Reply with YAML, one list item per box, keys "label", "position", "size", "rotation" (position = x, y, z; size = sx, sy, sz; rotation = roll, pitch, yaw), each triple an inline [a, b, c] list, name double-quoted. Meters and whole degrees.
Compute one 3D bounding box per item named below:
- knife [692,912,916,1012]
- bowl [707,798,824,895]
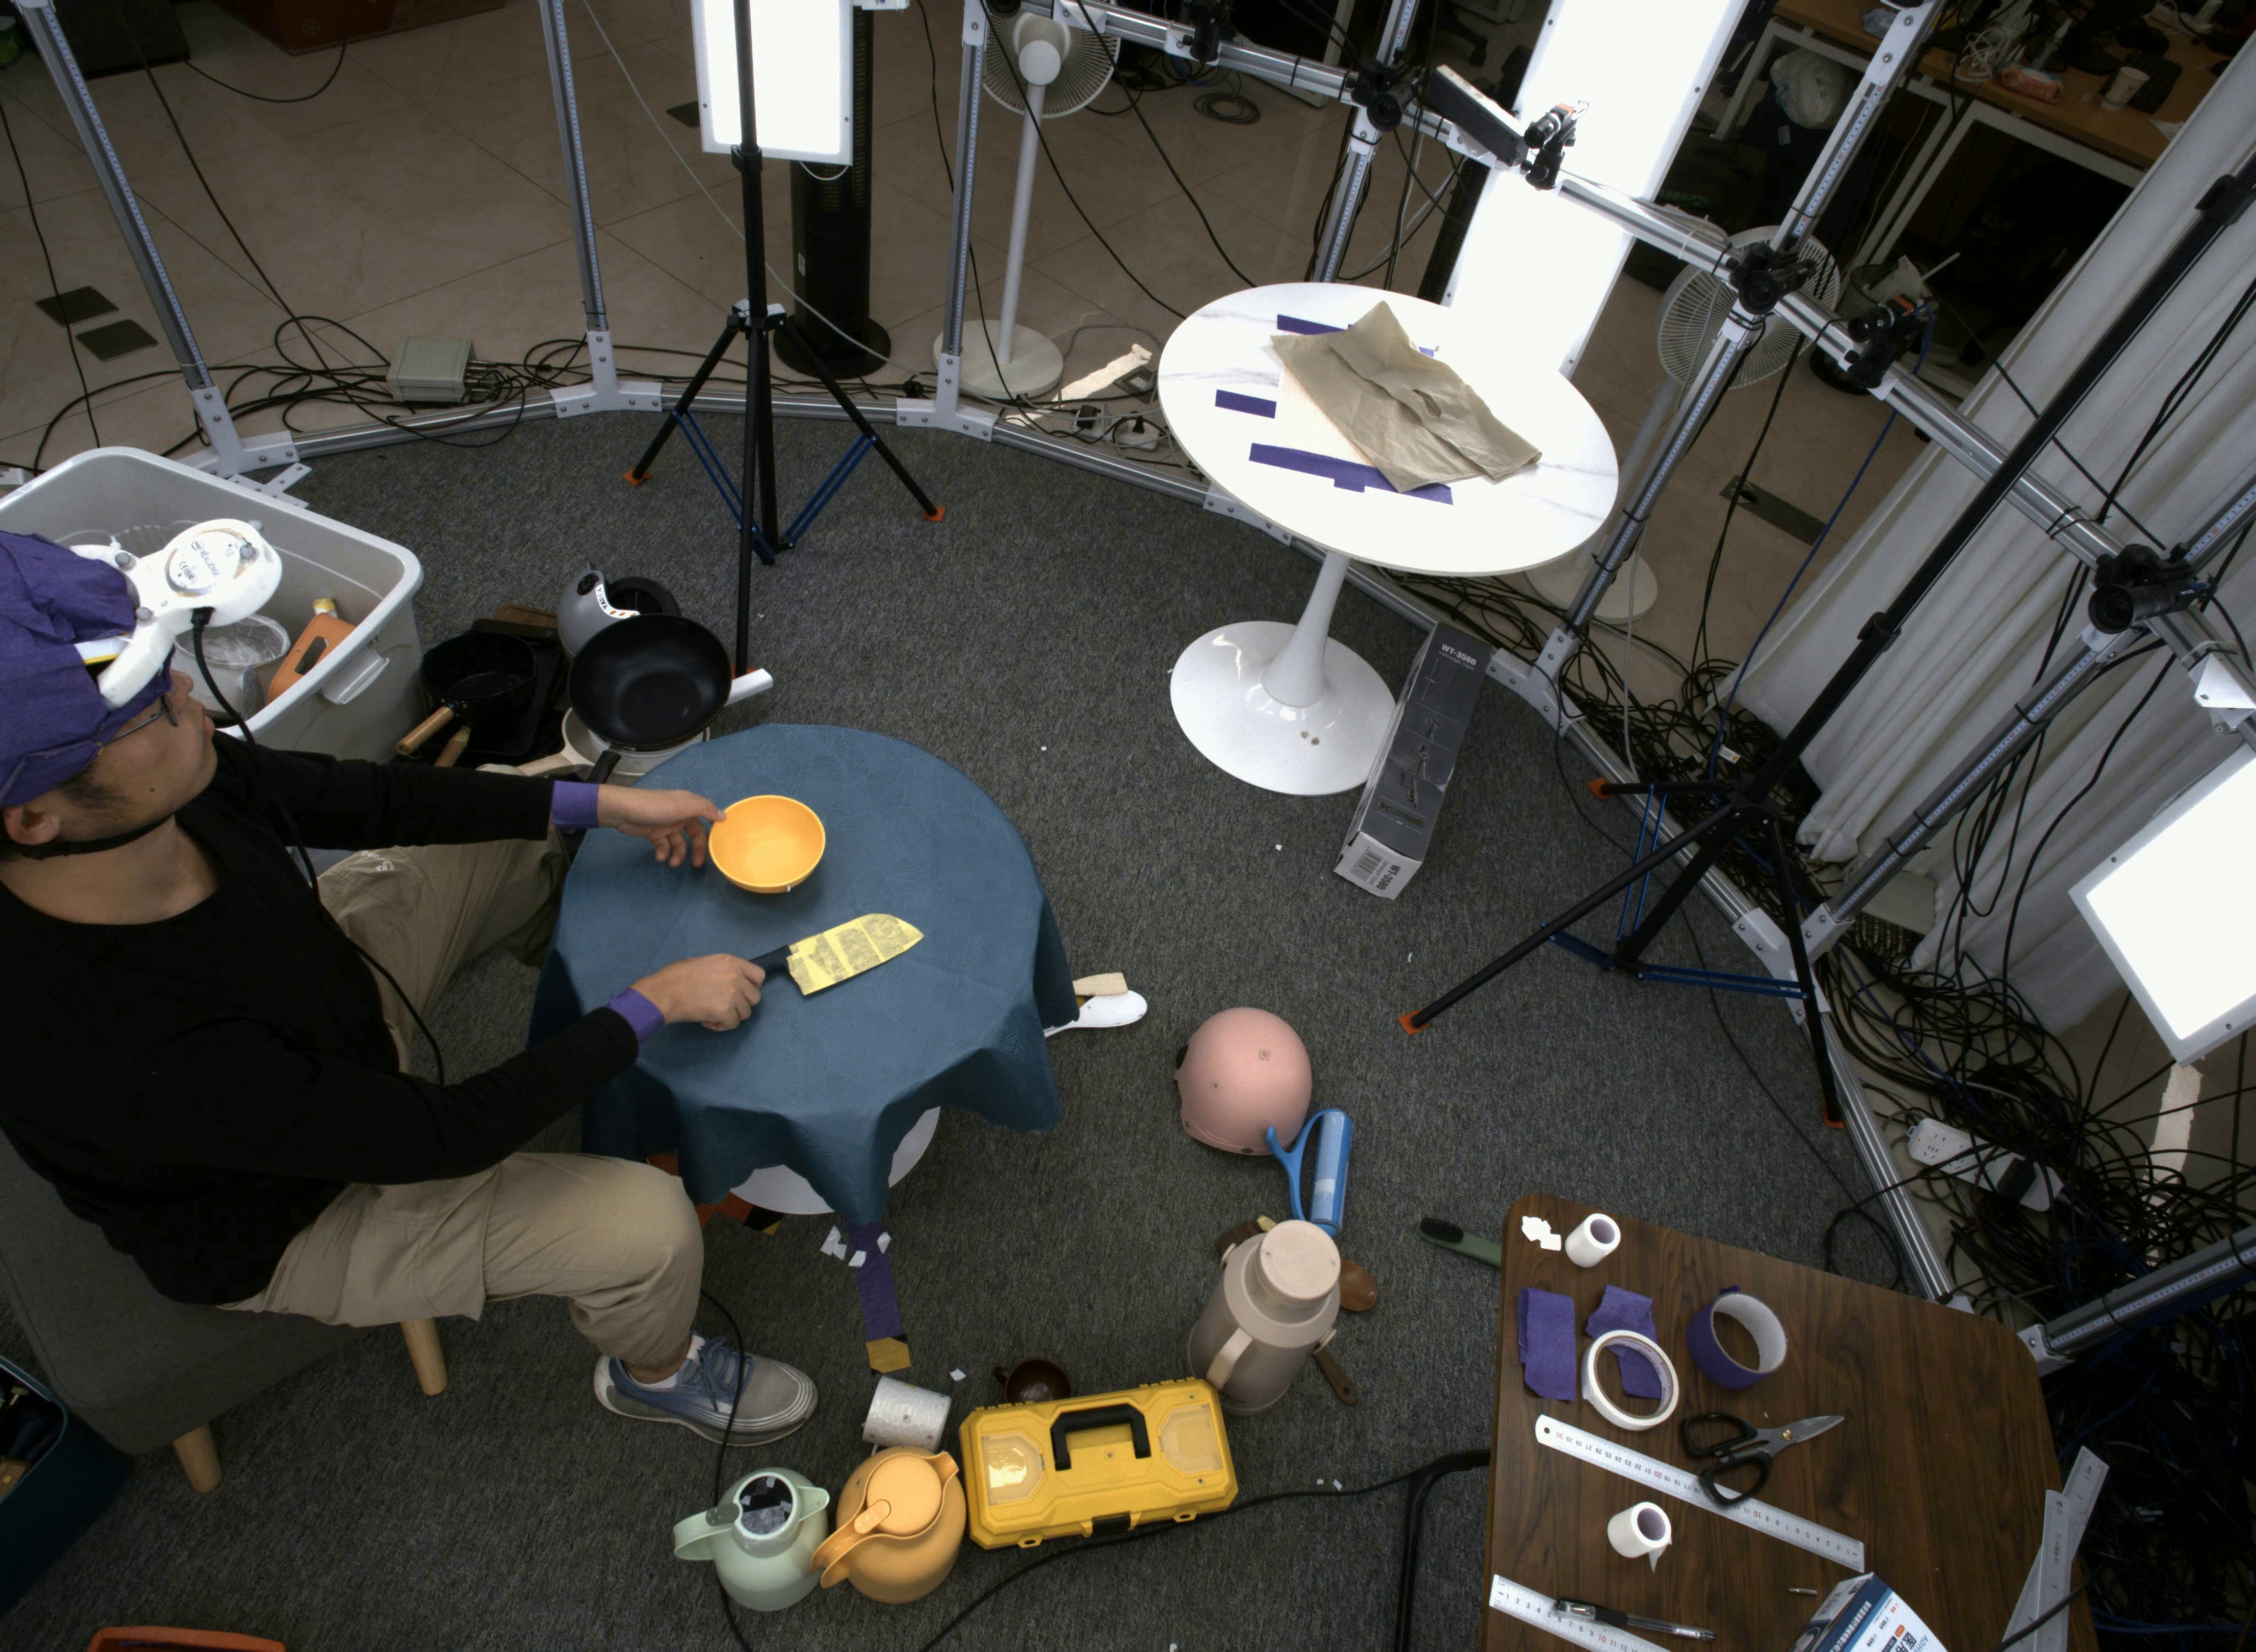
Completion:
- label: "knife"
  position: [-0.392, 0.169, 1.594]
  size: [0.291, 0.028, 0.079]
  rotation: [-21, 60, -28]
- label: "bowl"
  position: [-0.459, 0.036, 1.647]
  size: [0.145, 0.061, 0.142]
  rotation: [8, 50, -7]
